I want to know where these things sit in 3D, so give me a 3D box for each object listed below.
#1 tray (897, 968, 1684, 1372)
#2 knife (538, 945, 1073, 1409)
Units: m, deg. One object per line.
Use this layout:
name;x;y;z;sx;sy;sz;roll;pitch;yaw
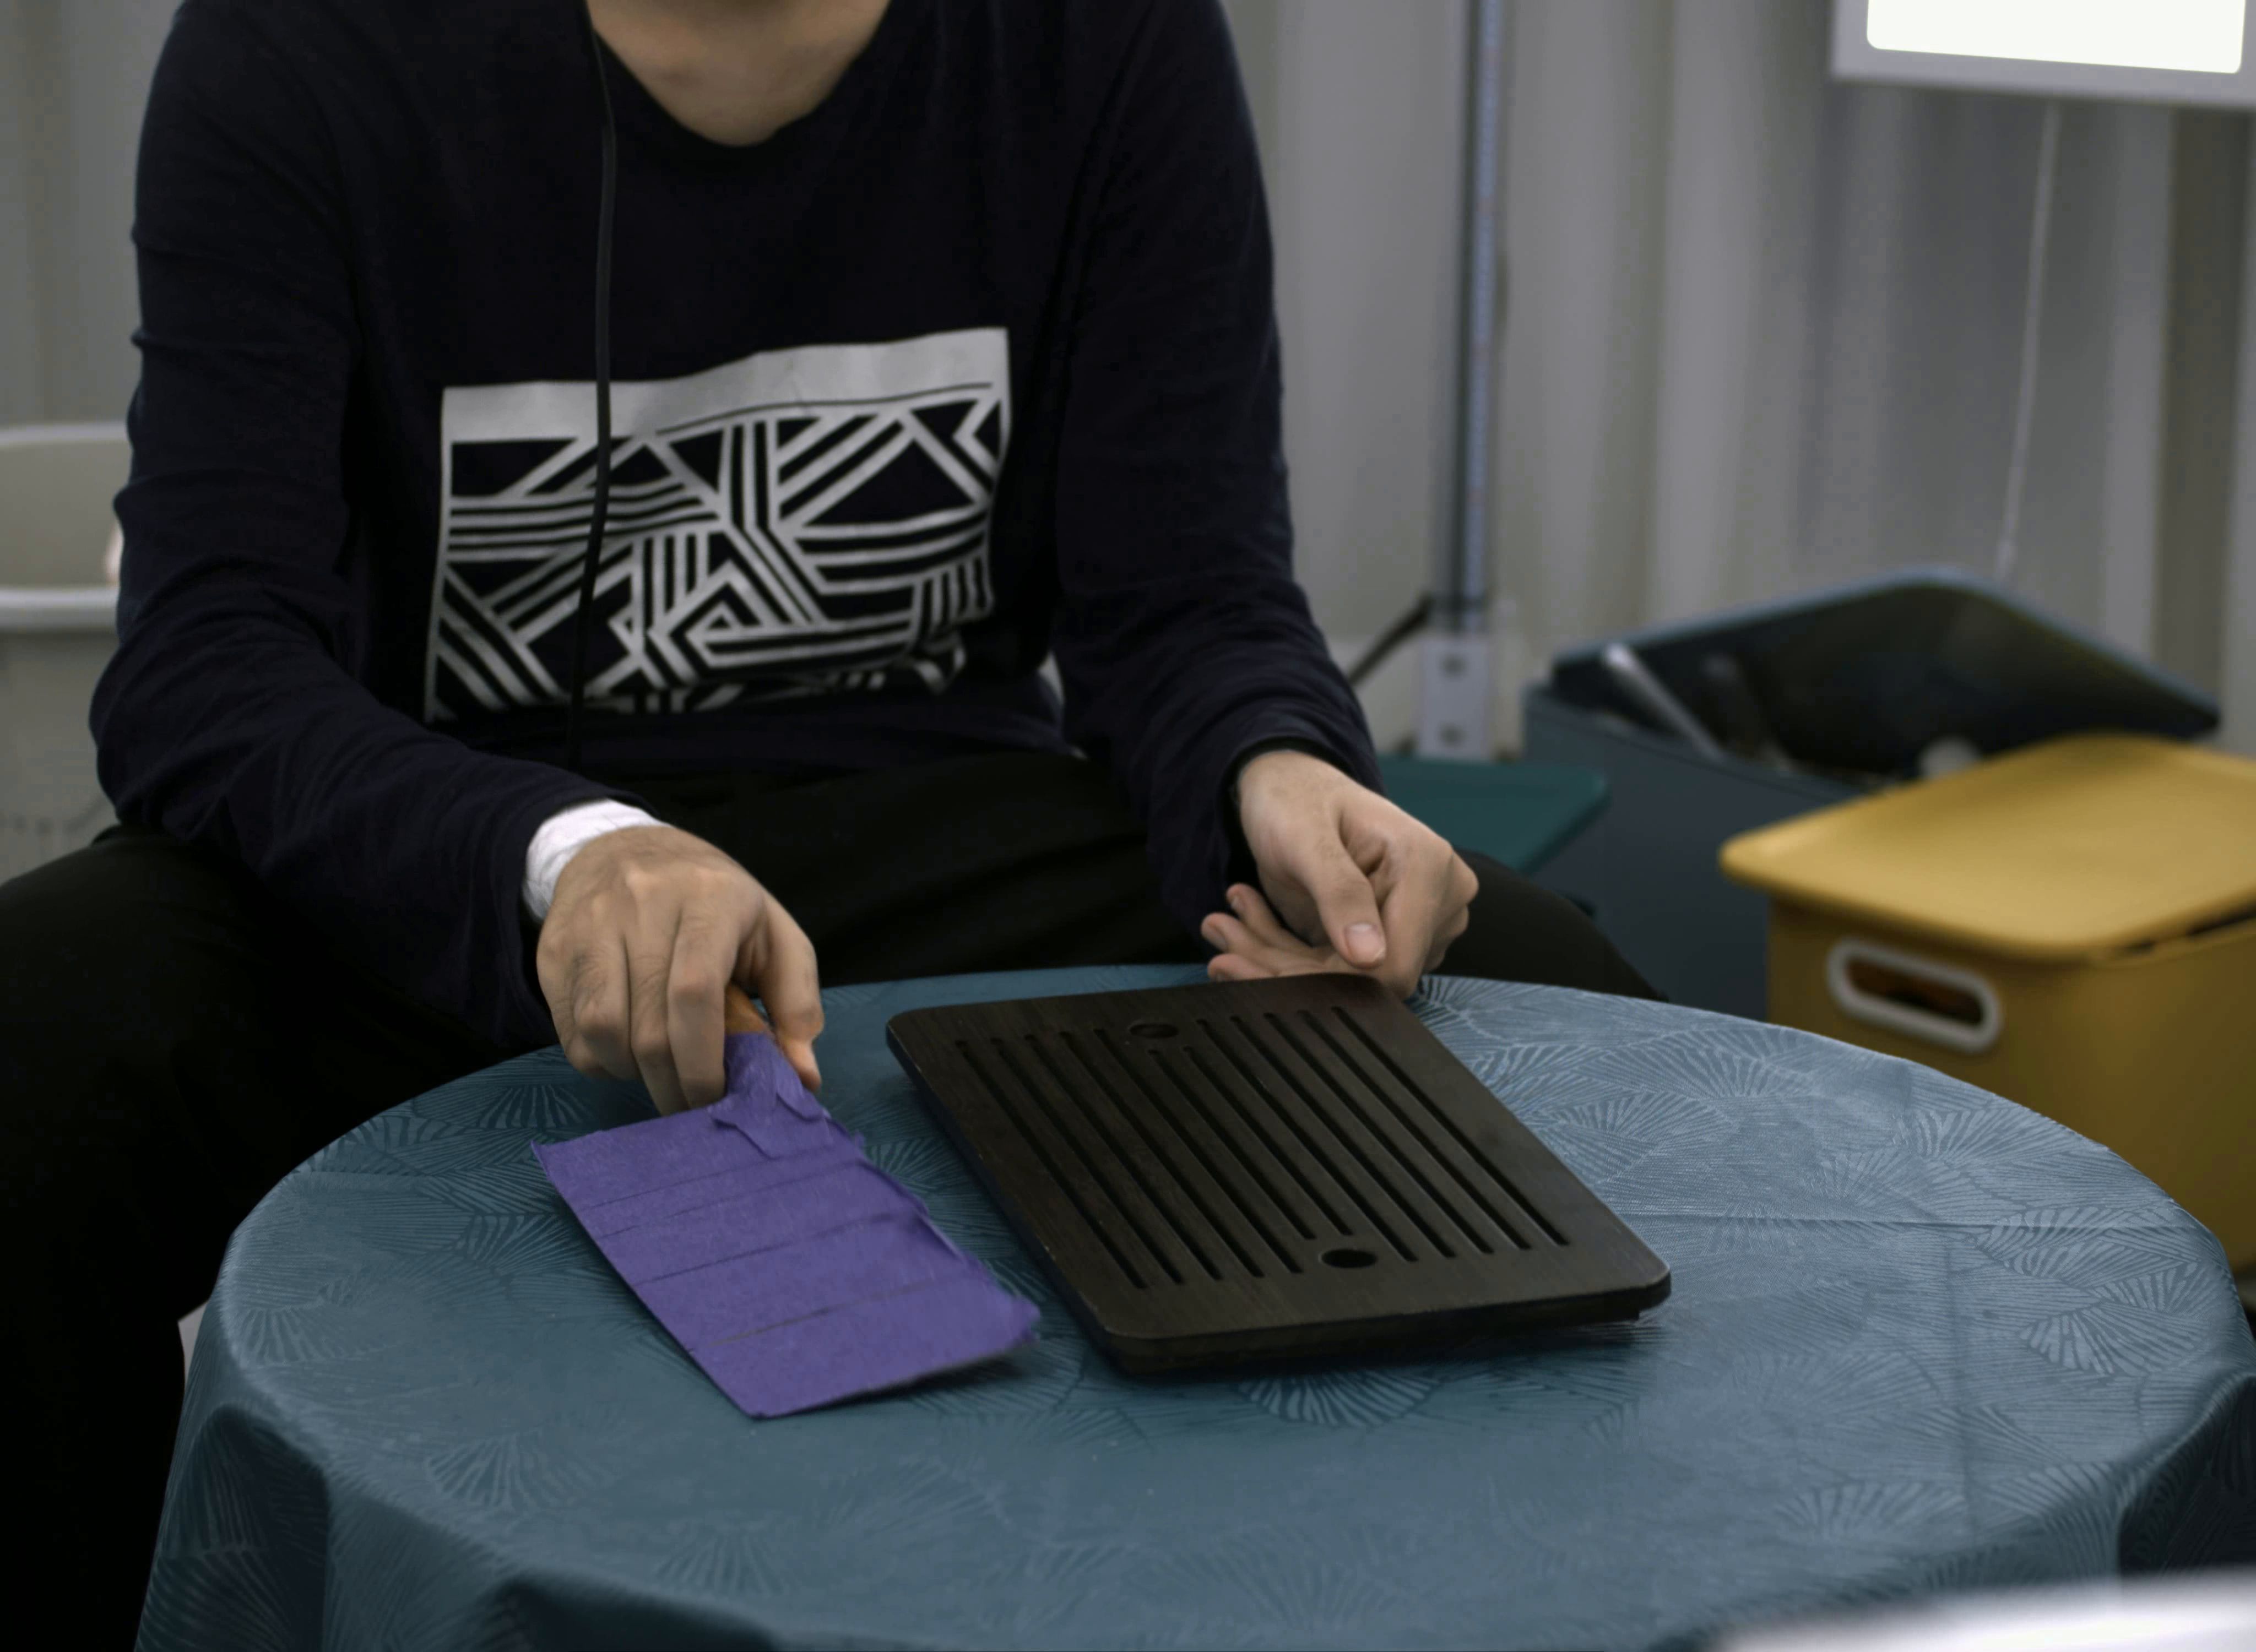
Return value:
tray;0.042;0.102;1.618;0.170;0.019;0.303;-5;17;-14
knife;-0.122;0.101;1.583;0.104;0.032;0.311;-14;21;-20
